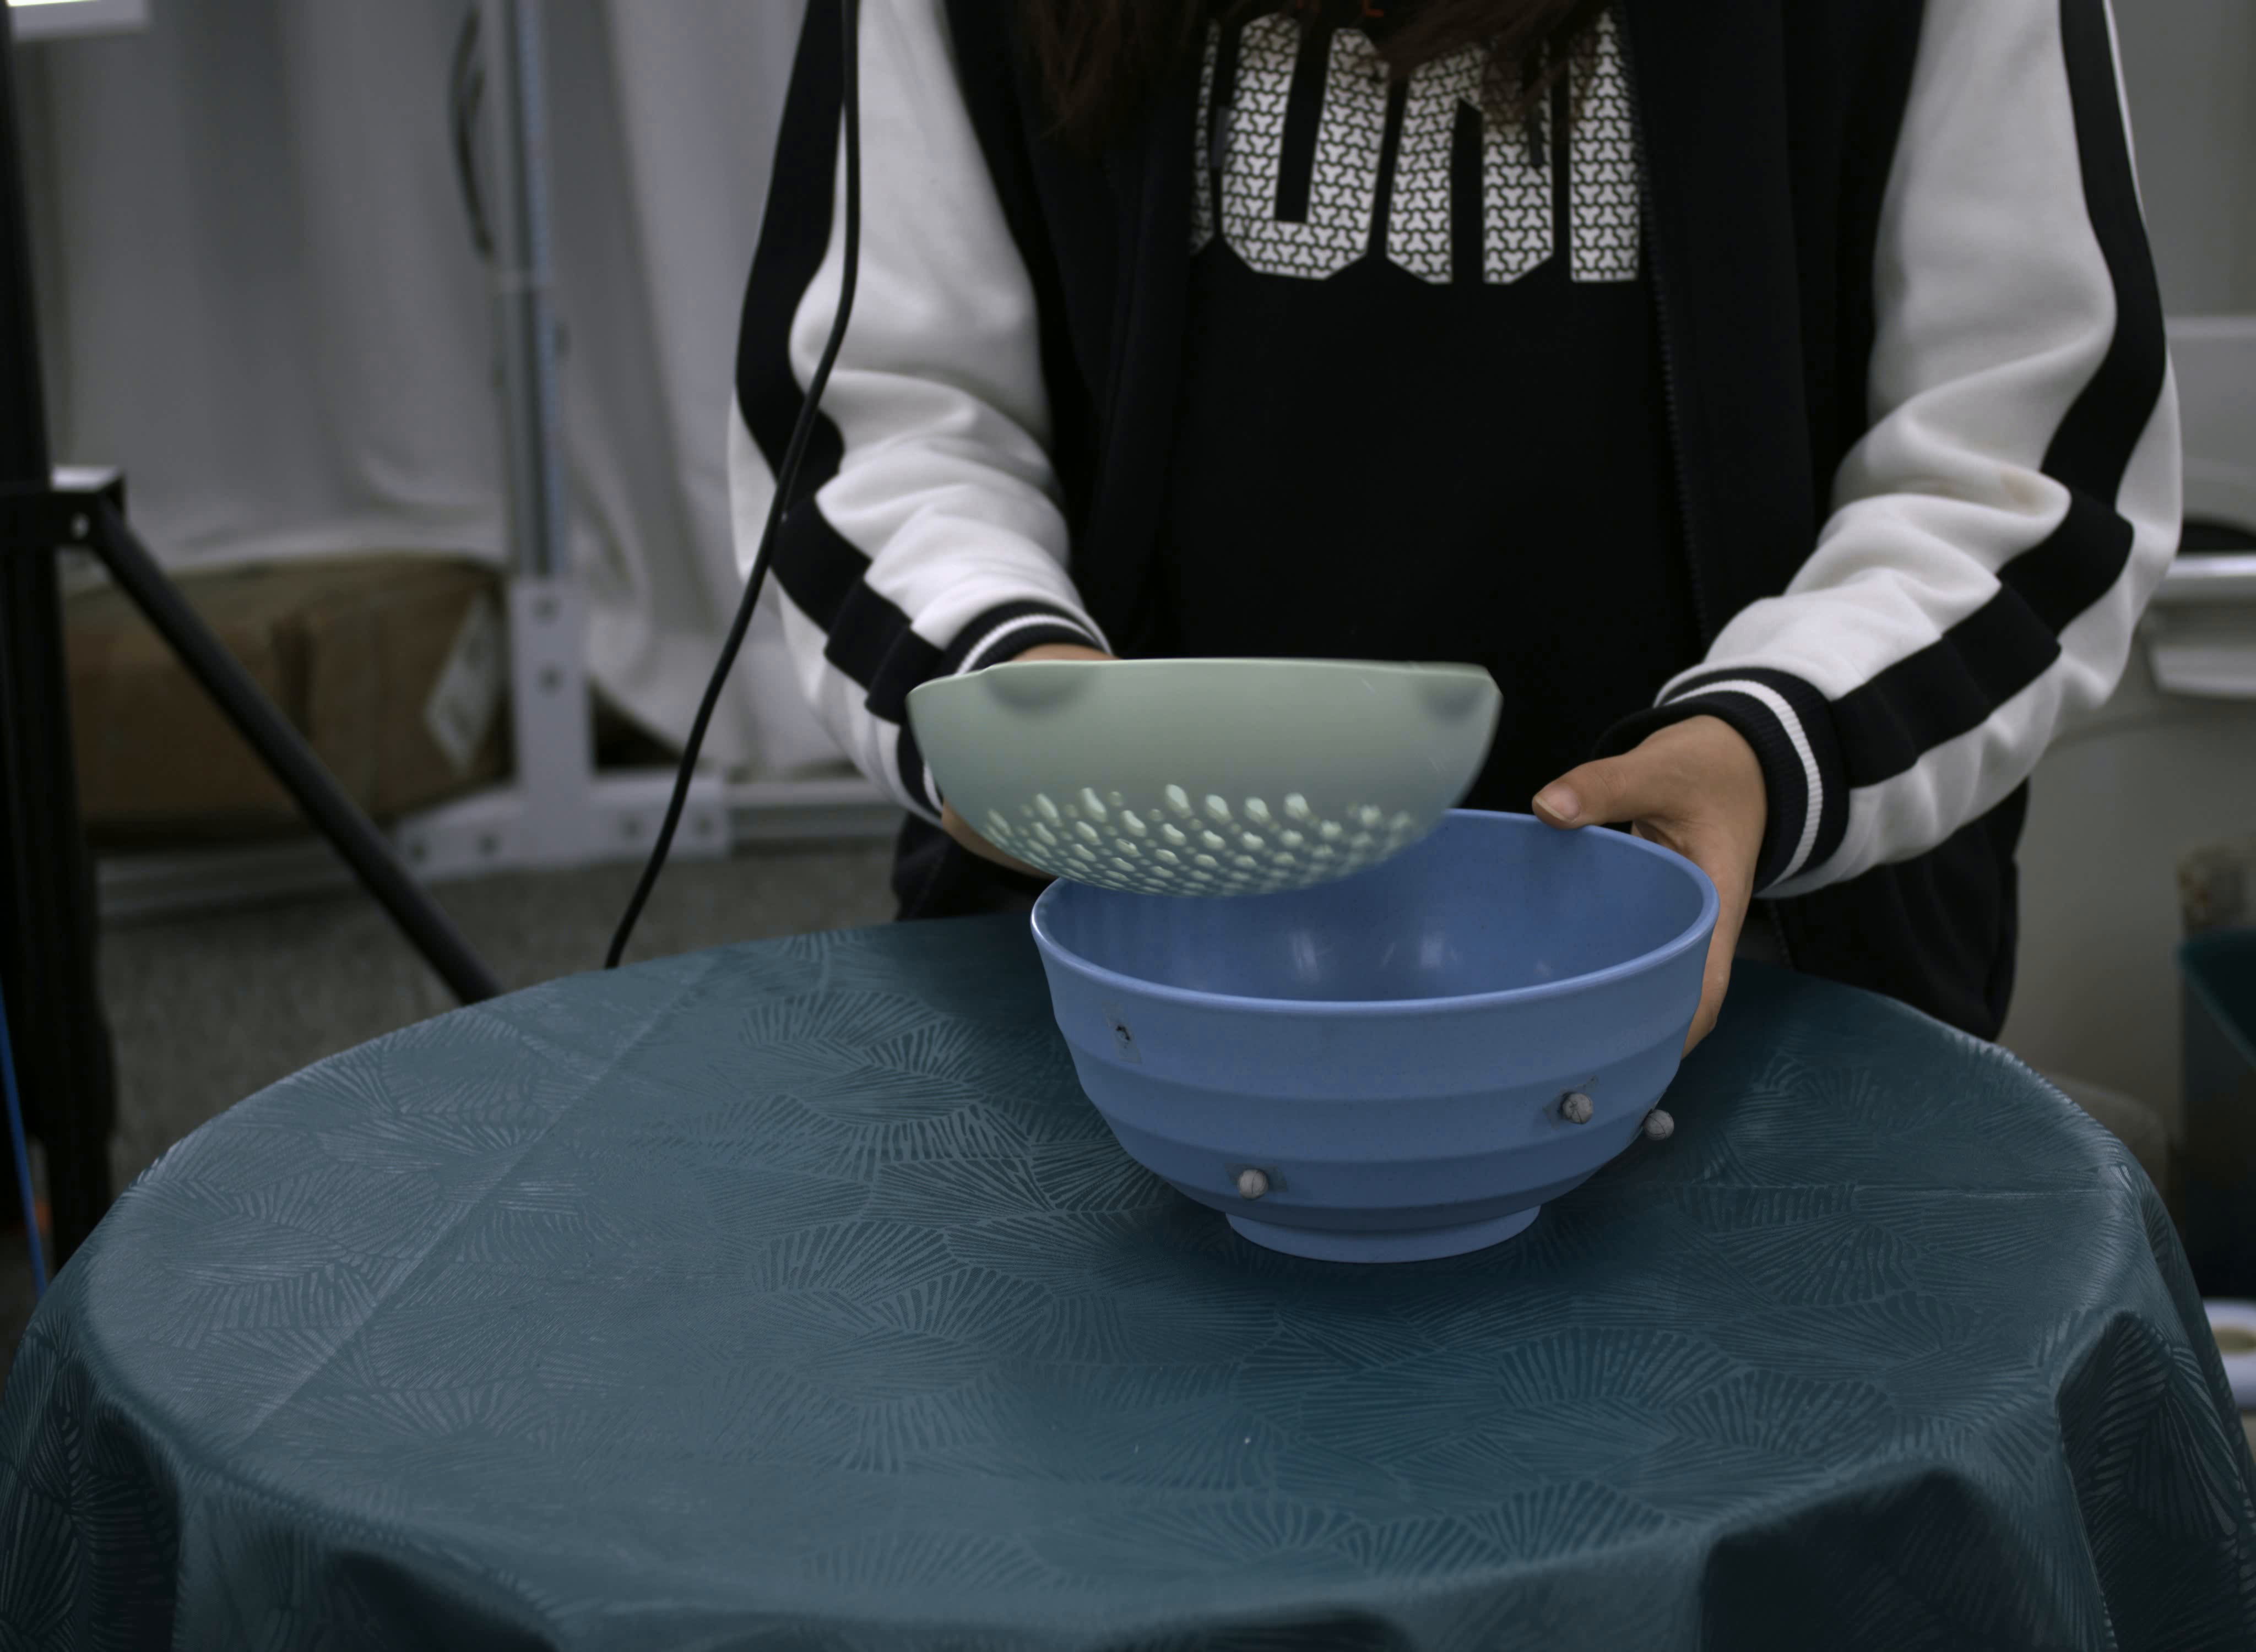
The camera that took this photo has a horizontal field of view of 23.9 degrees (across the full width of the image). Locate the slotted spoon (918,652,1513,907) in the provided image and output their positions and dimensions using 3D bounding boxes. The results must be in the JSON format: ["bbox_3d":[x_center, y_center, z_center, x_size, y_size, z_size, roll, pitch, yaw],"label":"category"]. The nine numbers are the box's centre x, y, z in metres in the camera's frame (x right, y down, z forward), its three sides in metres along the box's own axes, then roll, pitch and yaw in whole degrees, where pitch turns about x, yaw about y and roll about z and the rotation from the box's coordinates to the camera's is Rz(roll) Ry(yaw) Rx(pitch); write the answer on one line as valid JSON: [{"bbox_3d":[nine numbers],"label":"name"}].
[{"bbox_3d":[0.007,-0.011,1.603,0.167,0.076,0.361,4,0,-9],"label":"slotted spoon"}]

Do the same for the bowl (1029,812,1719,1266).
[{"bbox_3d":[0.071,0.066,1.520,0.195,0.095,0.197,-3,15,-1],"label":"bowl"}]
